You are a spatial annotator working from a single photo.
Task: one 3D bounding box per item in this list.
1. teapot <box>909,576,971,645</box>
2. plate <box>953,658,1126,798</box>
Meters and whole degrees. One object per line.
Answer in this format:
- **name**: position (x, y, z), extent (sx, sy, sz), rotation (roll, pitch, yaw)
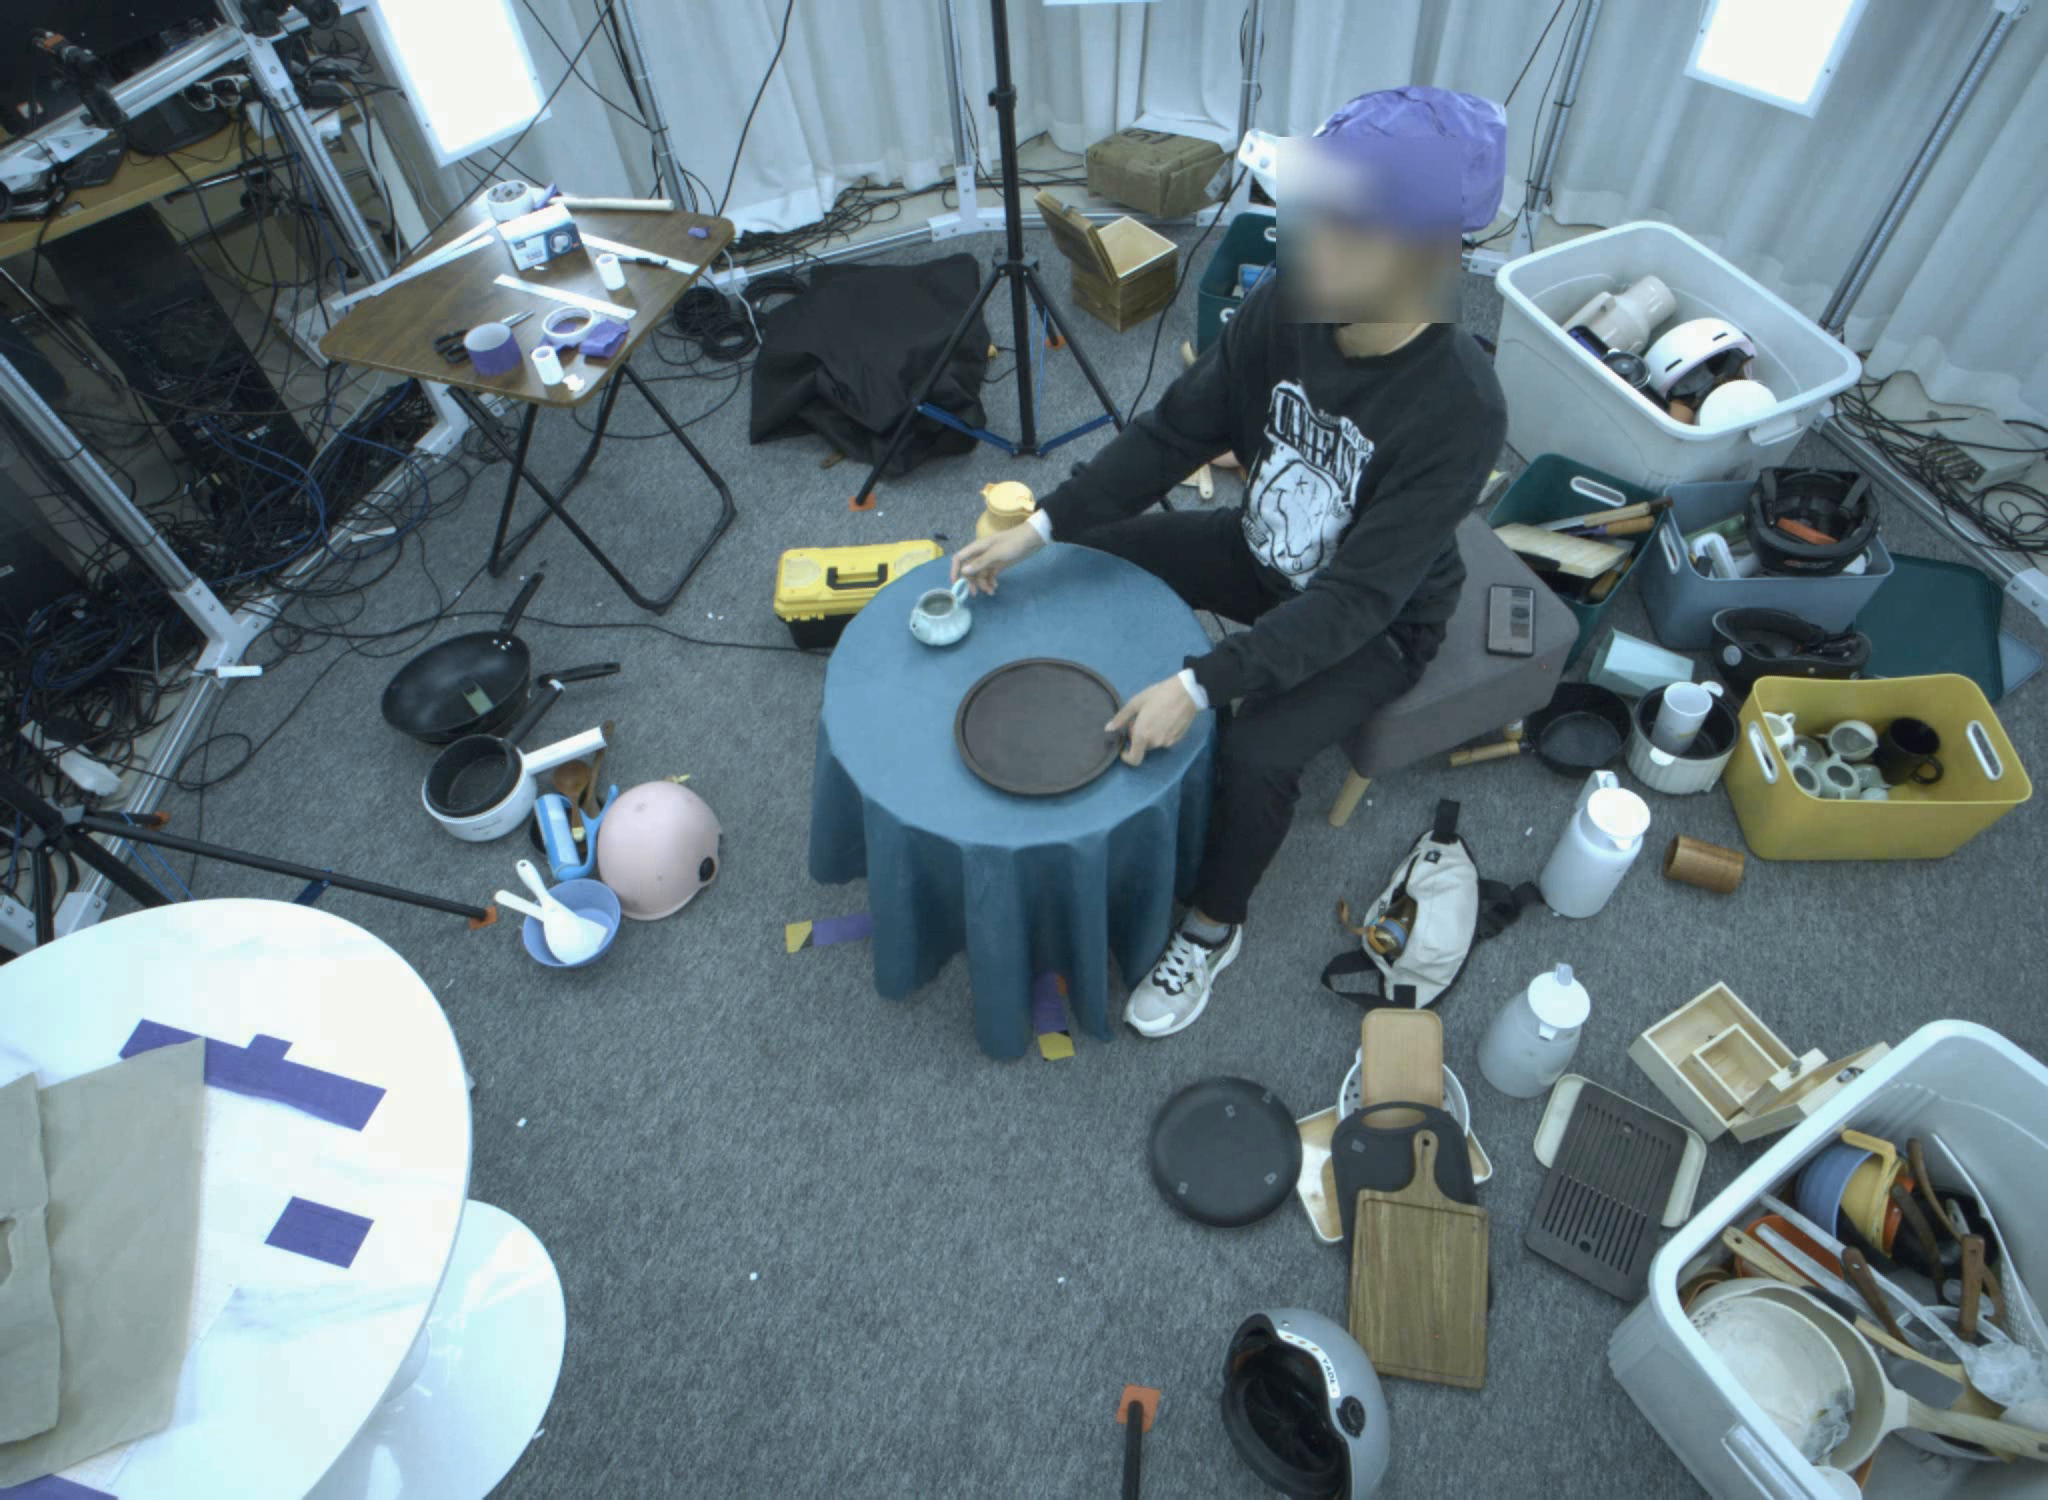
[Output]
- **teapot**: position (-0.129, -0.213, 1.902), extent (0.094, 0.062, 0.137), rotation (27, 60, 22)
- **plate**: position (0.023, -0.034, 1.792), extent (0.254, 0.029, 0.252), rotation (-1, 54, 3)
